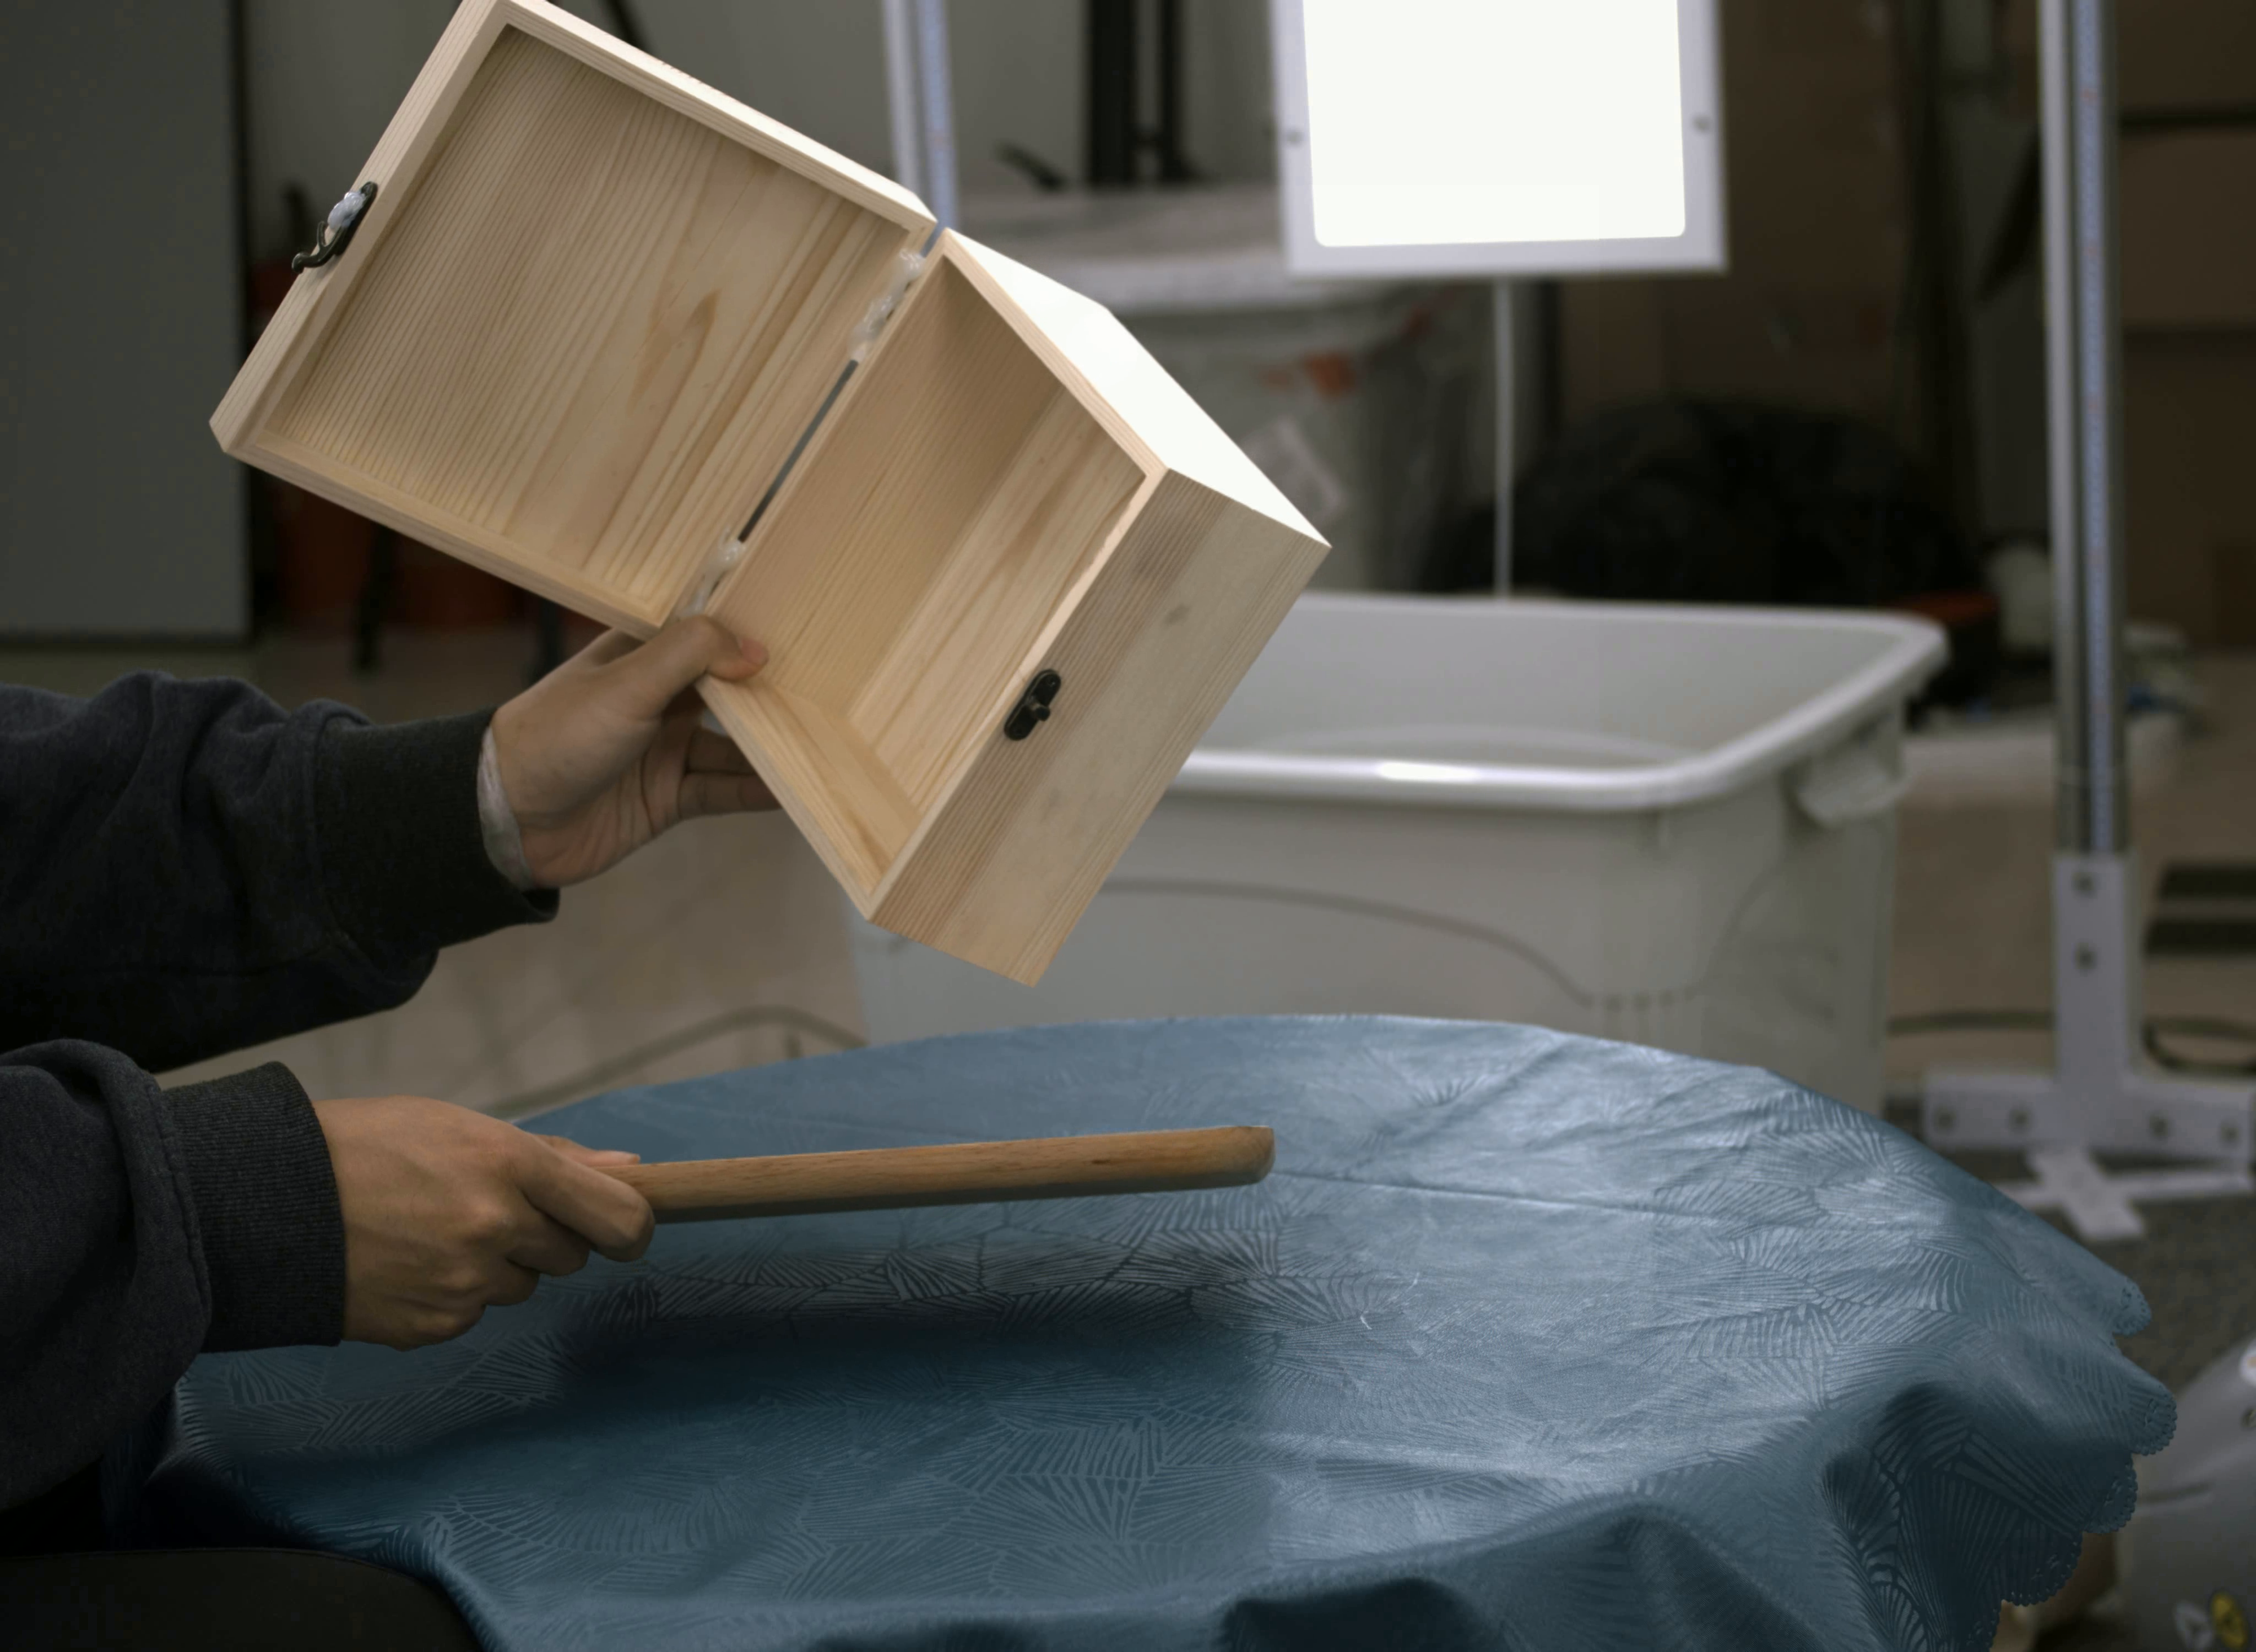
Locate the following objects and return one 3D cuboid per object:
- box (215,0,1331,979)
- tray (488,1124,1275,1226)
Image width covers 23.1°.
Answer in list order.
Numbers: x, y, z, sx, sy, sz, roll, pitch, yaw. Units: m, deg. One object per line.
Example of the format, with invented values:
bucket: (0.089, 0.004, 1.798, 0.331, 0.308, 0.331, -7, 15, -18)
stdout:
box: (-0.124, -0.118, 1.826, 0.248, 0.183, 0.268, 20, 19, -35)
tray: (-0.077, 0.113, 1.779, 0.251, 0.023, 0.130, -4, -9, 4)
